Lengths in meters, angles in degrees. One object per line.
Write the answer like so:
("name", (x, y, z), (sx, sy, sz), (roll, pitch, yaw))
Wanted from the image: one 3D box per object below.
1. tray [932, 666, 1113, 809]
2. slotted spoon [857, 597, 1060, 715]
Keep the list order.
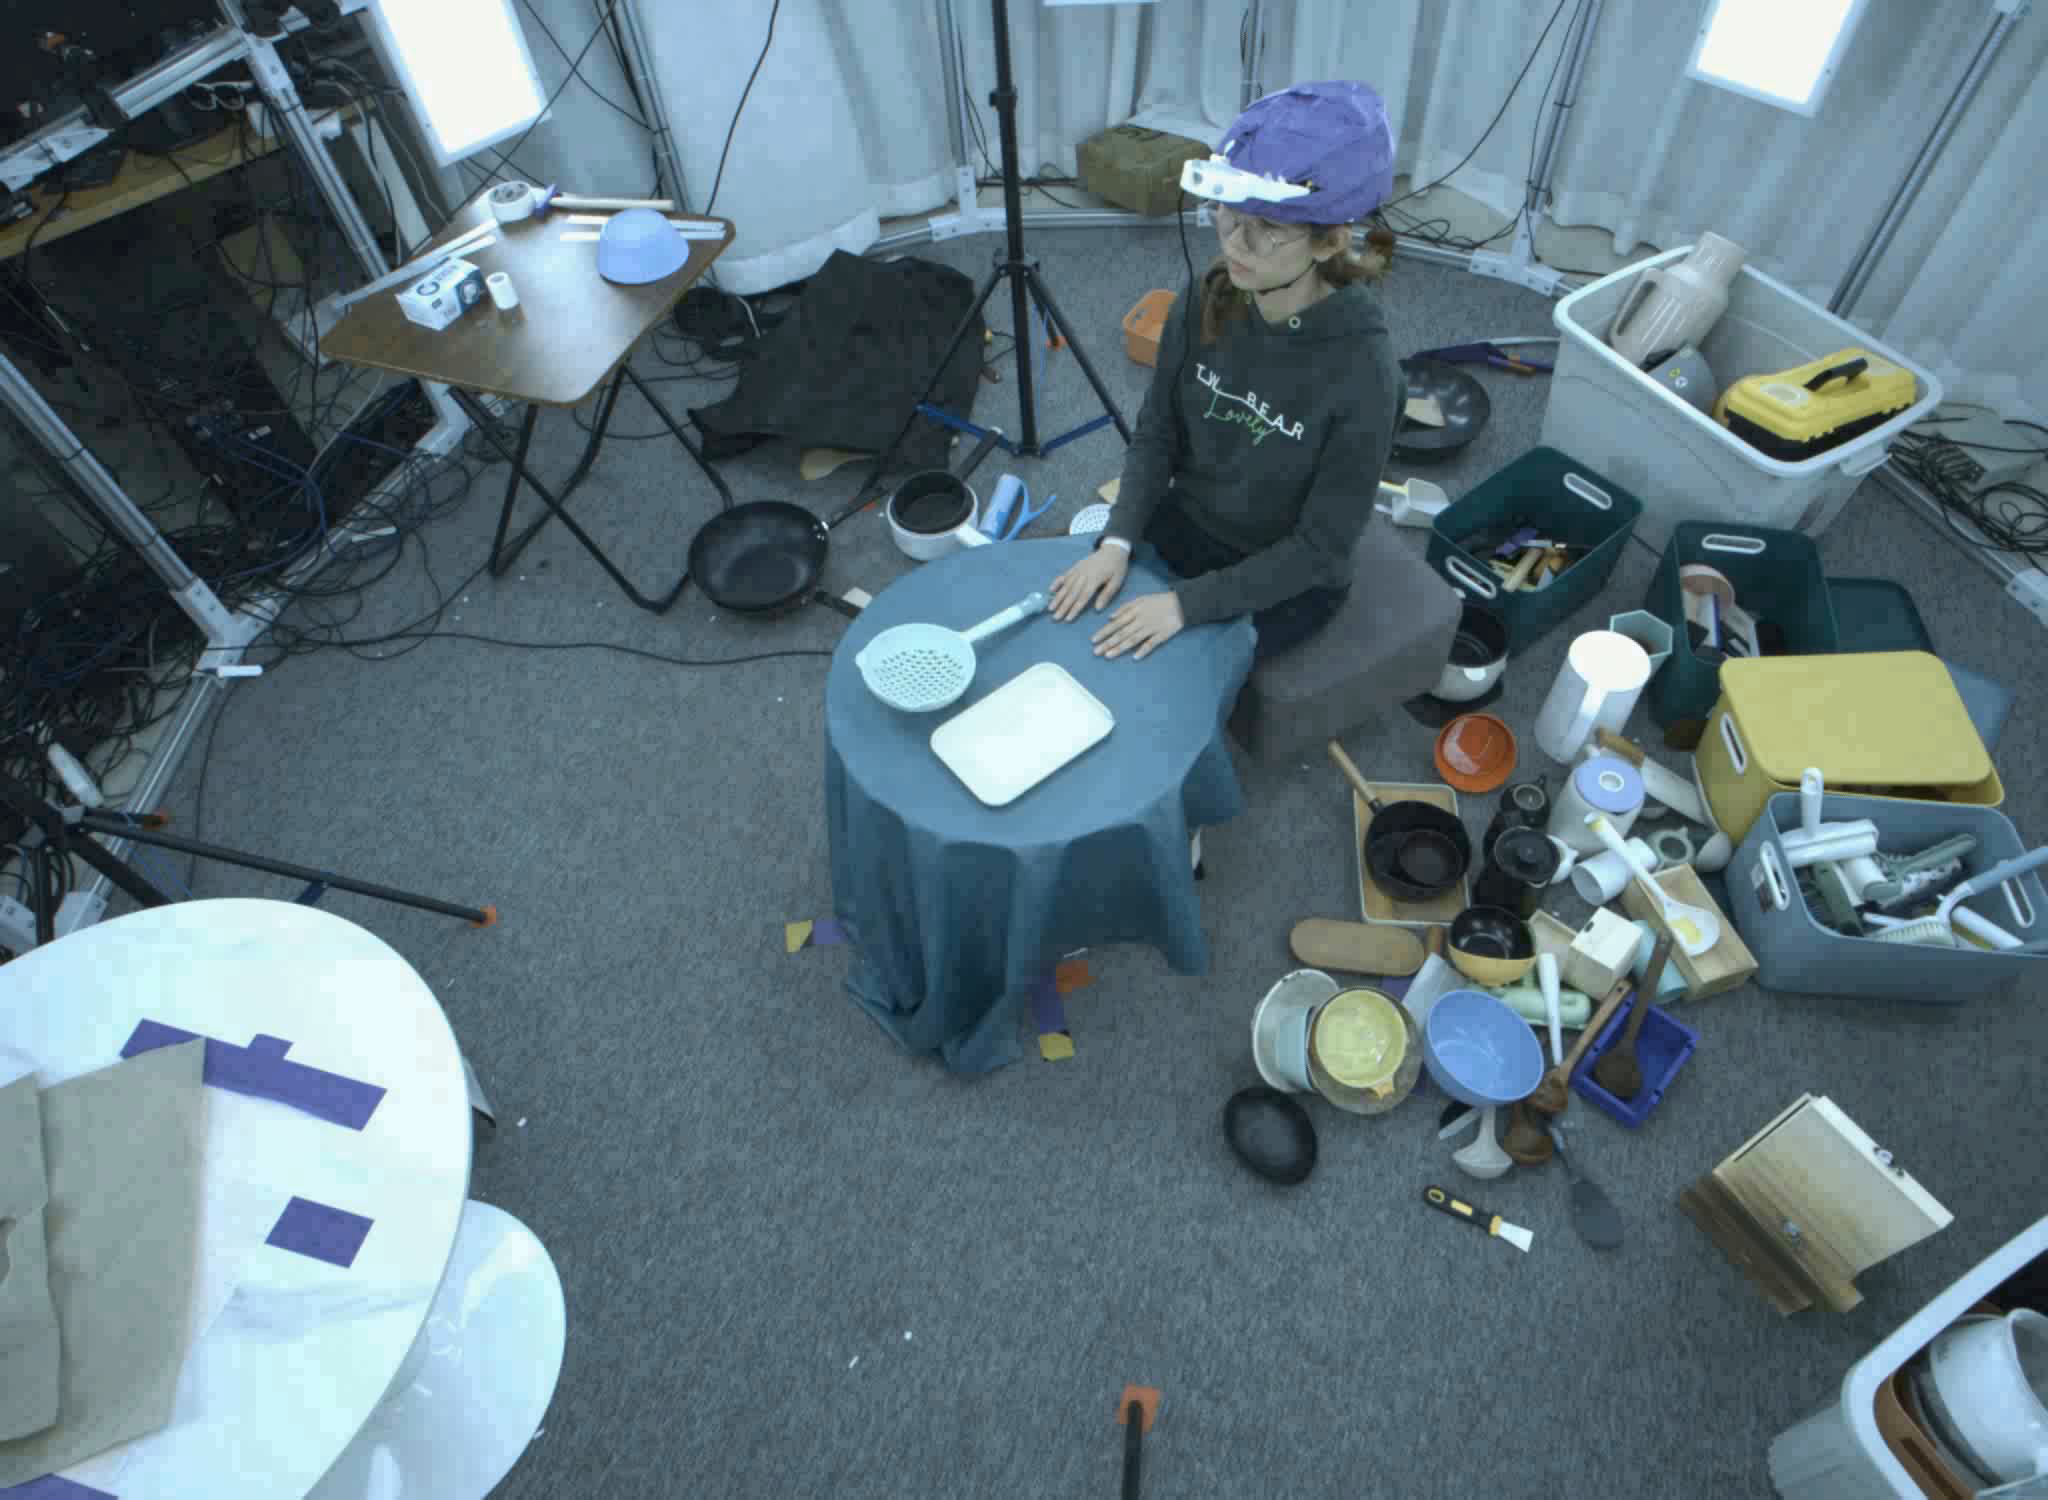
("tray", (-0.002, -0.019, 1.801), (0.241, 0.017, 0.168), (-34, 61, -21))
("slotted spoon", (-0.082, -0.162, 1.876), (0.361, 0.076, 0.166), (-36, 62, -22))
